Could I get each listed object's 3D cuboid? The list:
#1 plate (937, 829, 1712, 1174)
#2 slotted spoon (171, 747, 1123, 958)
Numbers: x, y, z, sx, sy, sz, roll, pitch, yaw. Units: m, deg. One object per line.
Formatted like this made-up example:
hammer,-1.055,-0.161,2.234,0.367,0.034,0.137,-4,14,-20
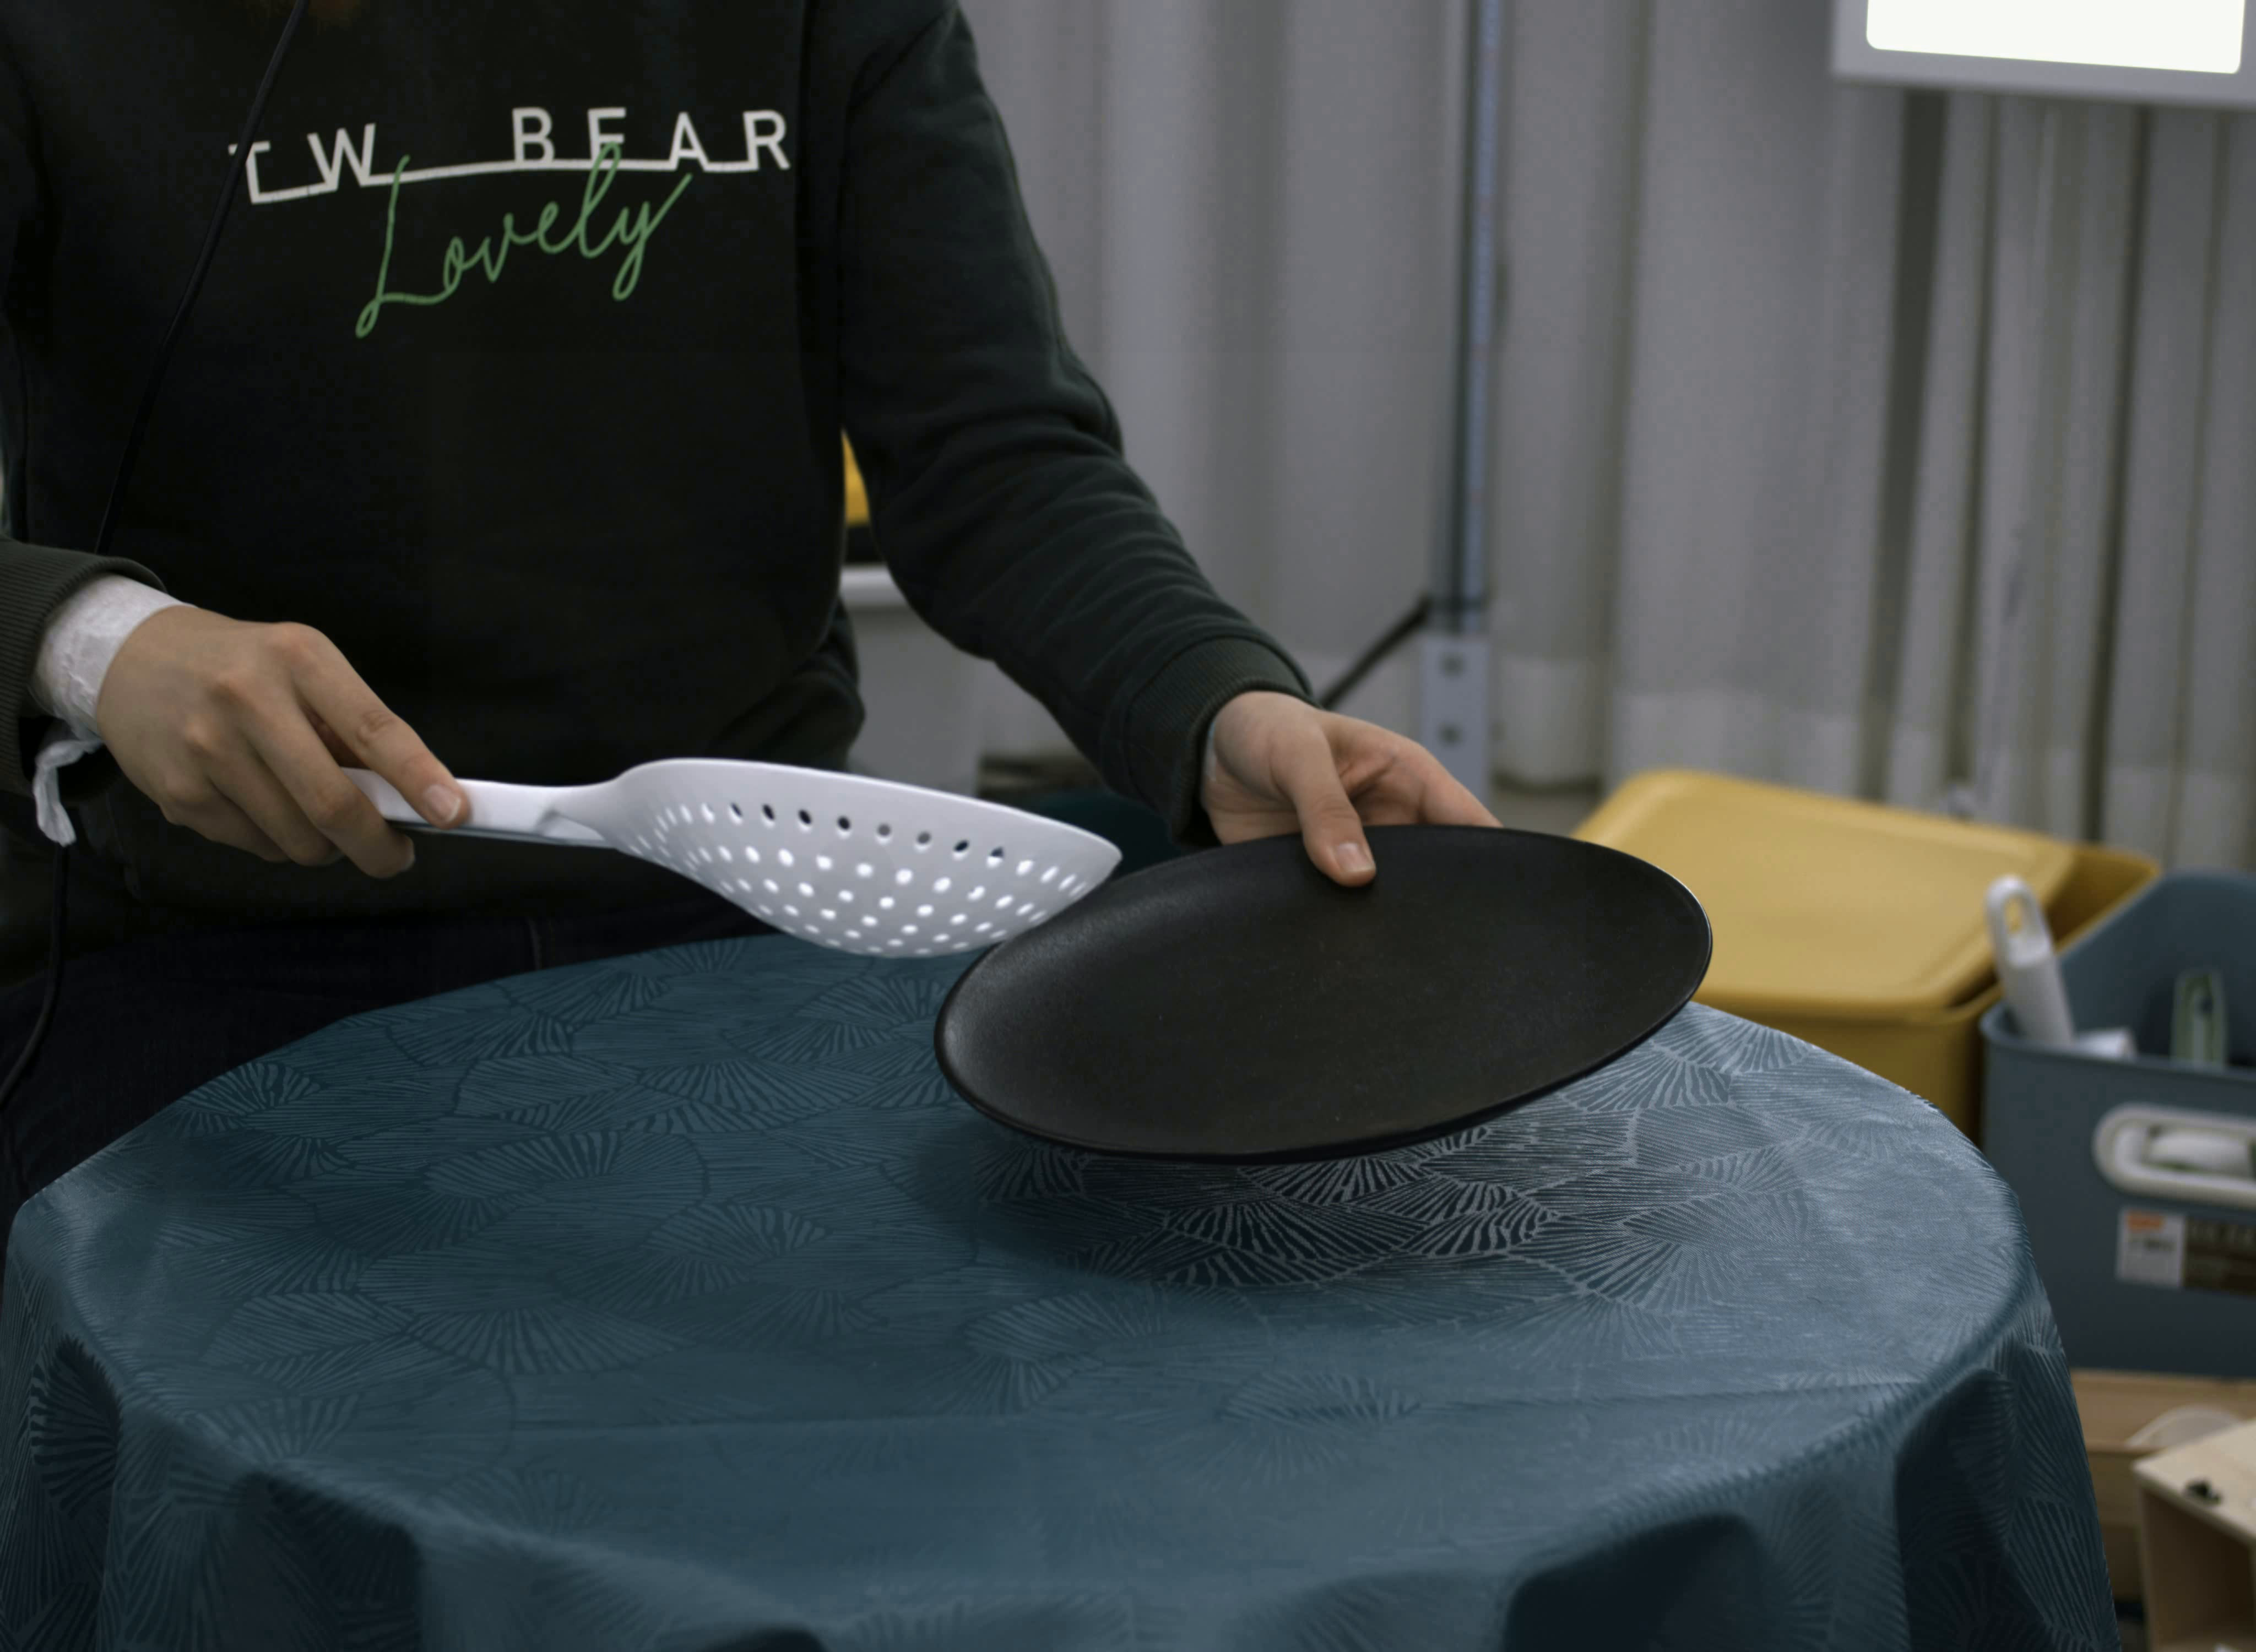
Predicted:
plate,0.062,0.057,1.638,0.243,0.023,0.243,-7,22,4
slotted spoon,-0.154,-0.003,1.524,0.345,0.046,0.137,10,-7,38
